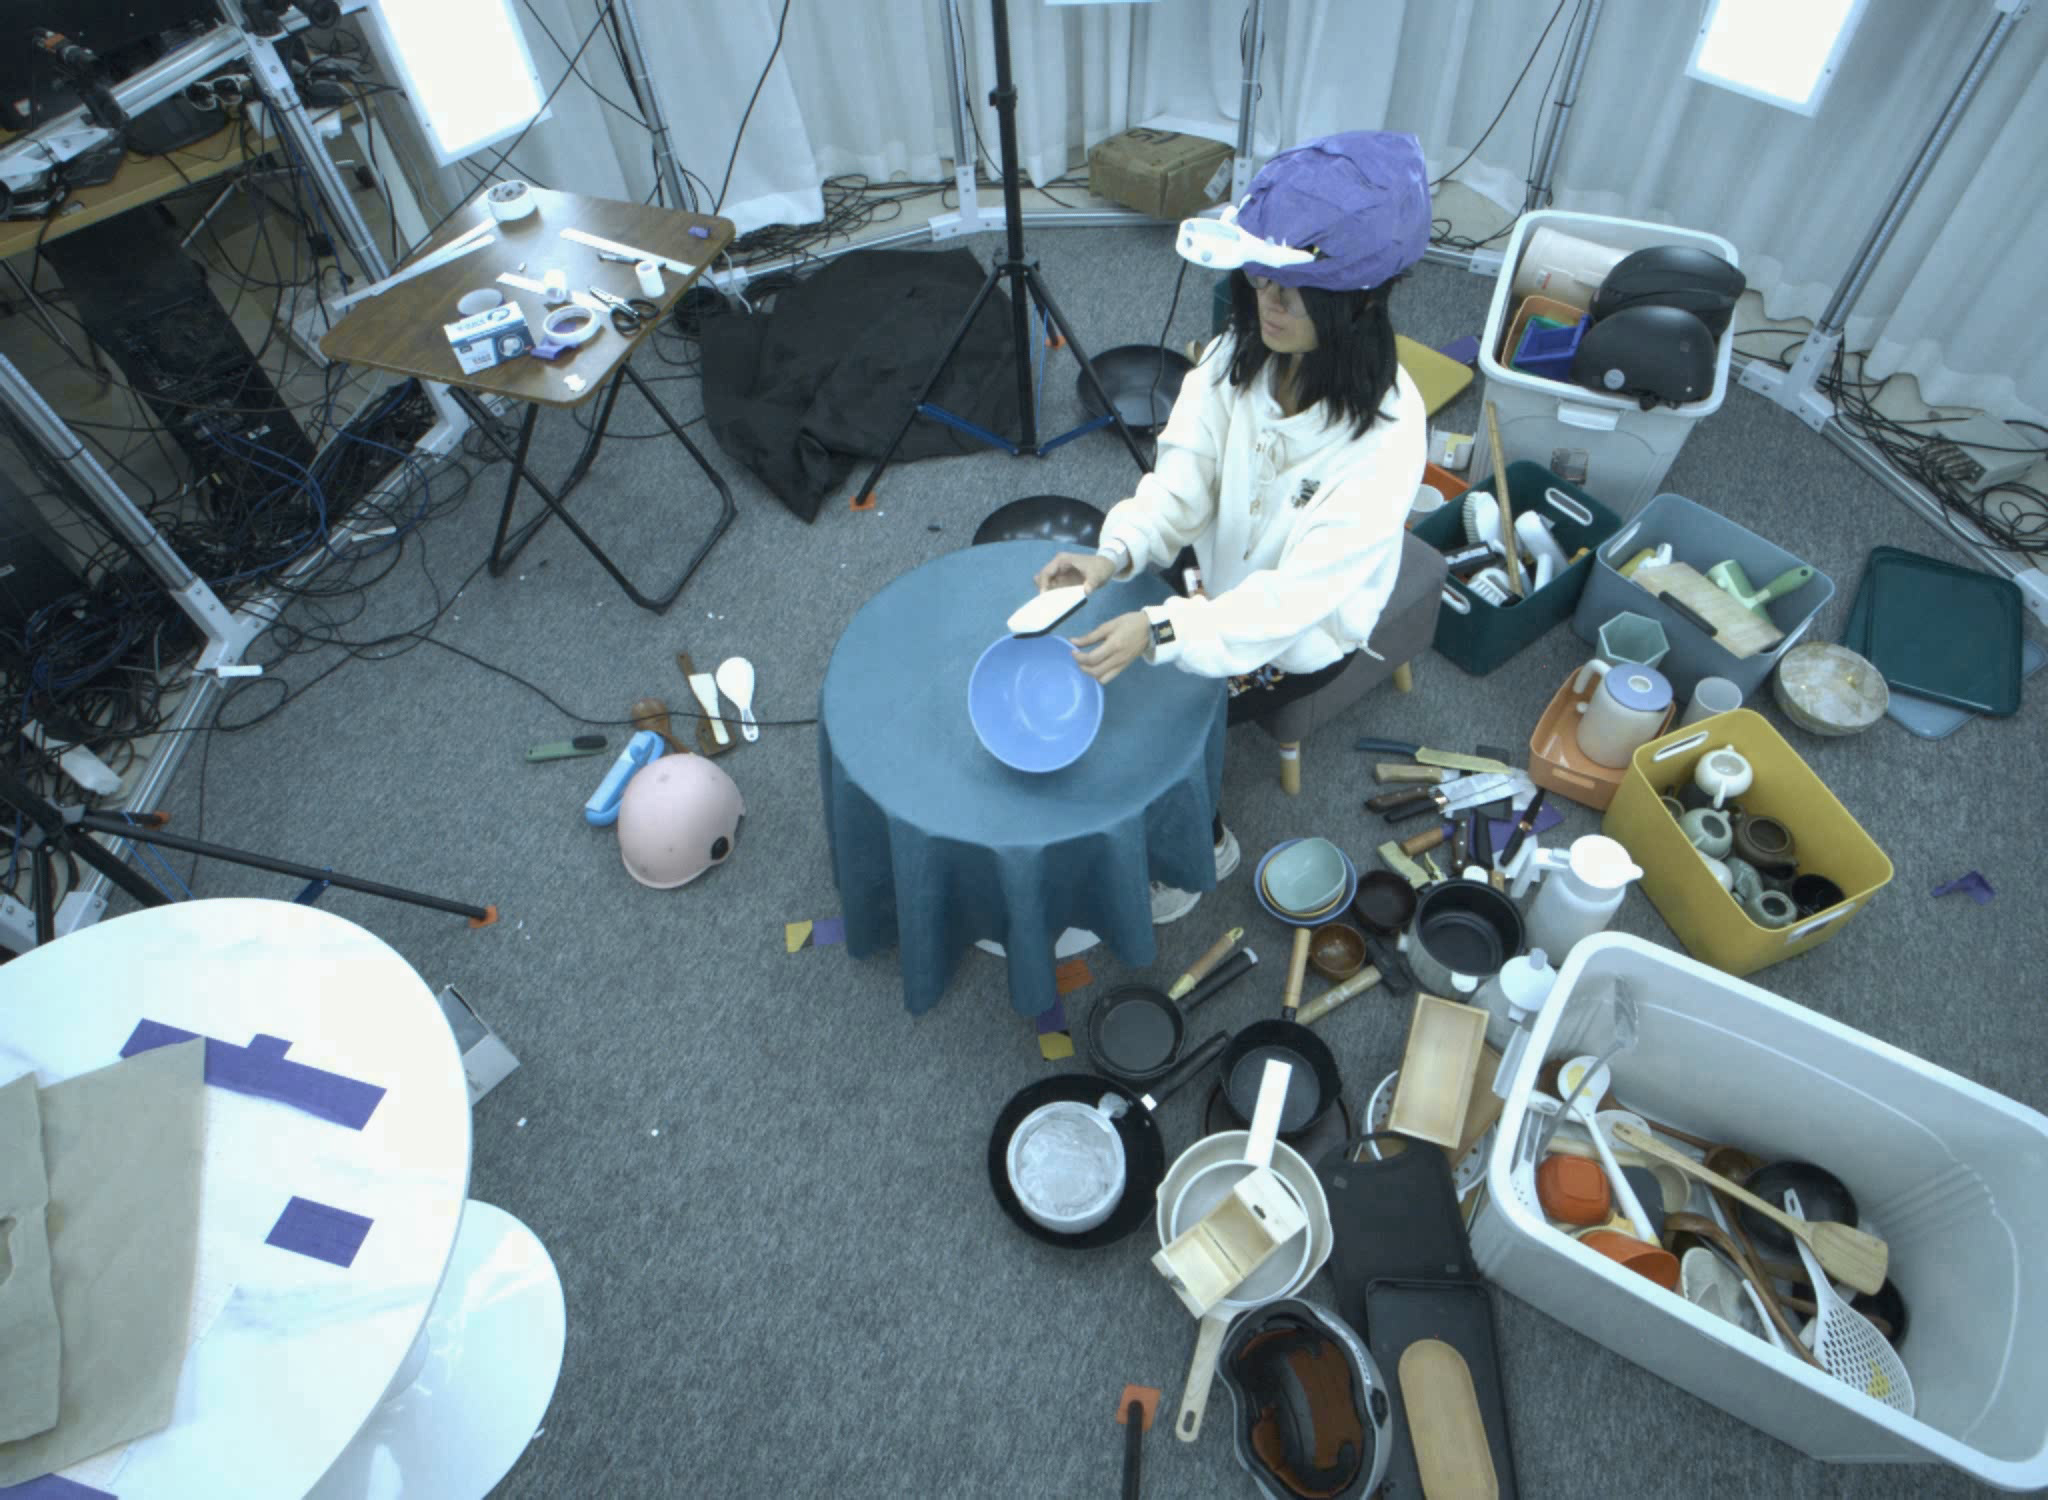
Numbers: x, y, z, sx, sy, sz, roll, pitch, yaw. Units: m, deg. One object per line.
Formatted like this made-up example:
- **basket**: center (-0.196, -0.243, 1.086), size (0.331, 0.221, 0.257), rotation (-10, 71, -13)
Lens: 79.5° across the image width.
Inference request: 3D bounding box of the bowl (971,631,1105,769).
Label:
- **bowl**: center (0.033, -0.078, 1.731), size (0.194, 0.197, 0.096), rotation (25, 20, 19)

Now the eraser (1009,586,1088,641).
- **eraser**: center (0.035, -0.190, 1.674), size (0.062, 0.035, 0.132), rotation (-1, 29, 38)
